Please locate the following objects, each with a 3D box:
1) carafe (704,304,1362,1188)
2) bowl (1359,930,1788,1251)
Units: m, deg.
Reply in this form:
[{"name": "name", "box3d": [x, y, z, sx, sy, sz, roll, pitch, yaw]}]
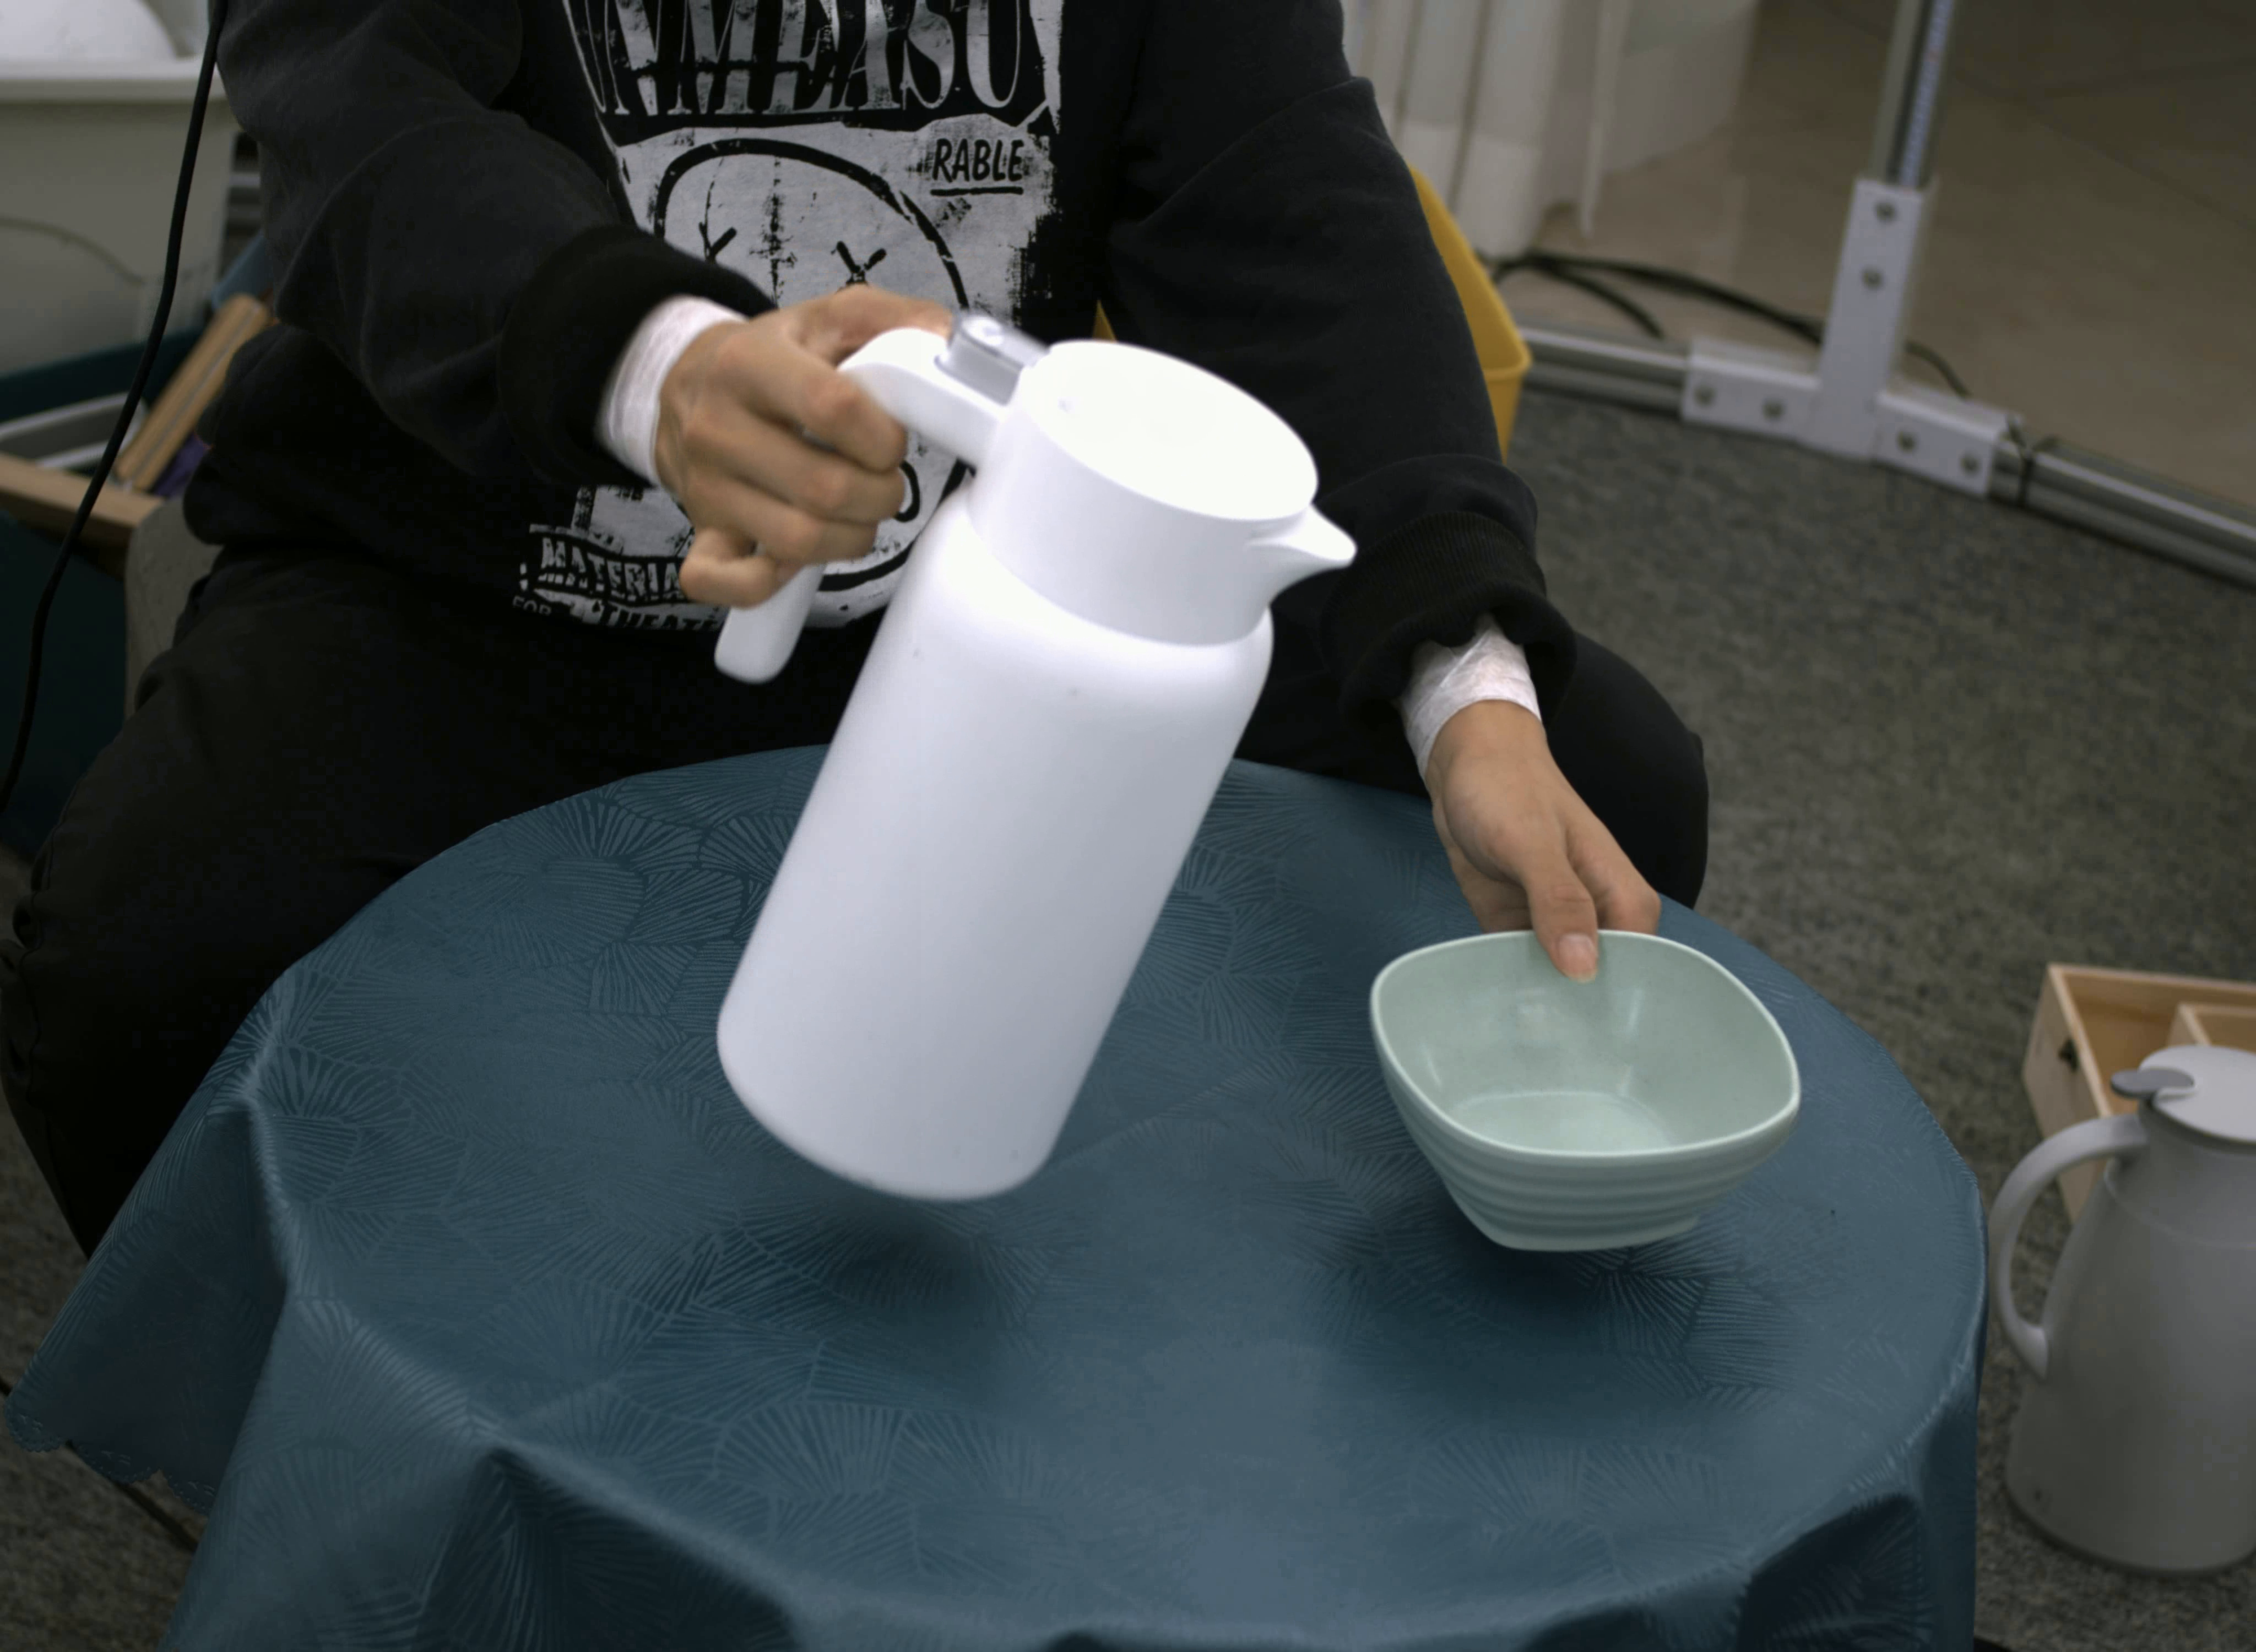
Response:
[{"name": "carafe", "box3d": [-0.052, -0.028, 1.680, 0.173, 0.268, 0.124, 29, 30, 7]}, {"name": "bowl", "box3d": [0.146, 0.096, 1.790, 0.151, 0.058, 0.152, 3, 30, -2]}]
